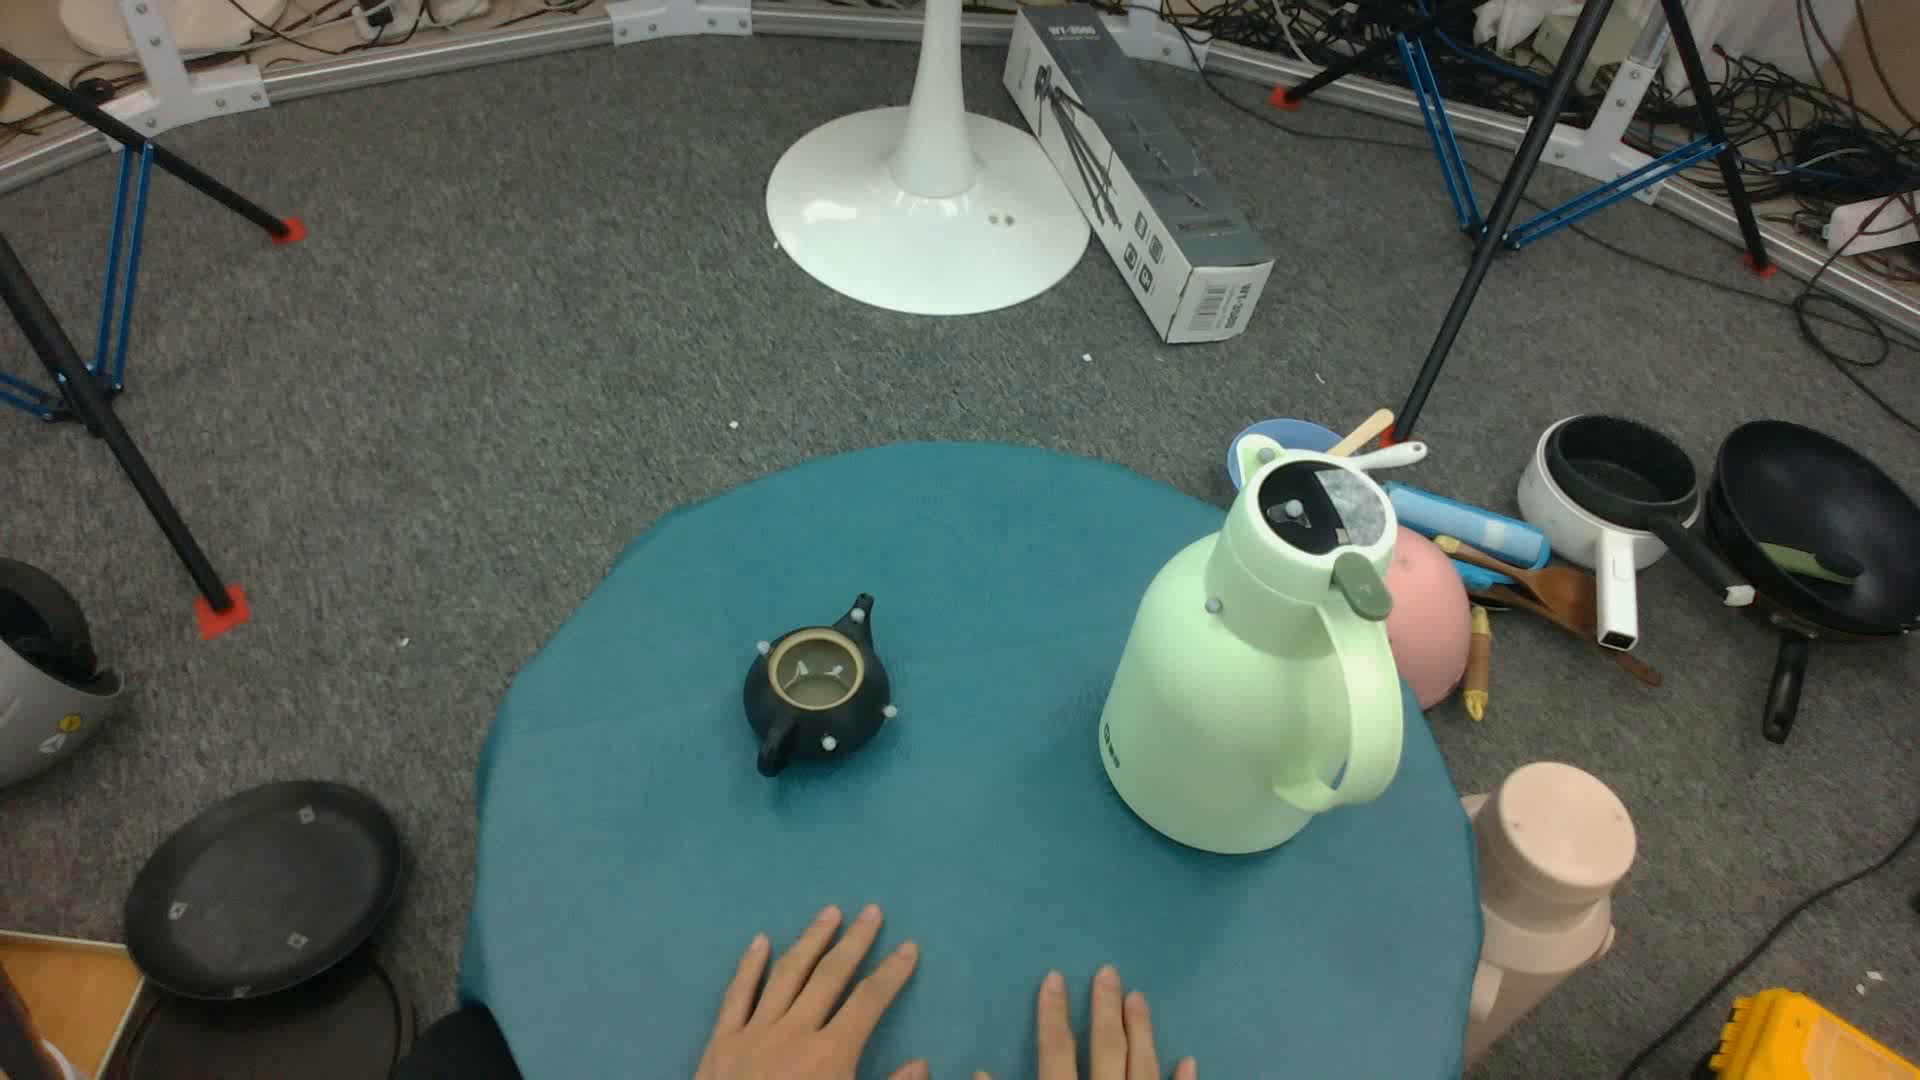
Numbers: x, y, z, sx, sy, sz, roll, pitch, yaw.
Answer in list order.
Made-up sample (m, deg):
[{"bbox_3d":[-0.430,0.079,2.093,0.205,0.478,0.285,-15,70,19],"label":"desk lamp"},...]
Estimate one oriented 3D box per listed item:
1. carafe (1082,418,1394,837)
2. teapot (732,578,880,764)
[{"bbox_3d":[0.166,0.064,0.770,0.144,0.255,0.187,-9,57,-16],"label":"carafe"},{"bbox_3d":[-0.095,0.084,0.845,0.091,0.053,0.134,22,53,12],"label":"teapot"}]
